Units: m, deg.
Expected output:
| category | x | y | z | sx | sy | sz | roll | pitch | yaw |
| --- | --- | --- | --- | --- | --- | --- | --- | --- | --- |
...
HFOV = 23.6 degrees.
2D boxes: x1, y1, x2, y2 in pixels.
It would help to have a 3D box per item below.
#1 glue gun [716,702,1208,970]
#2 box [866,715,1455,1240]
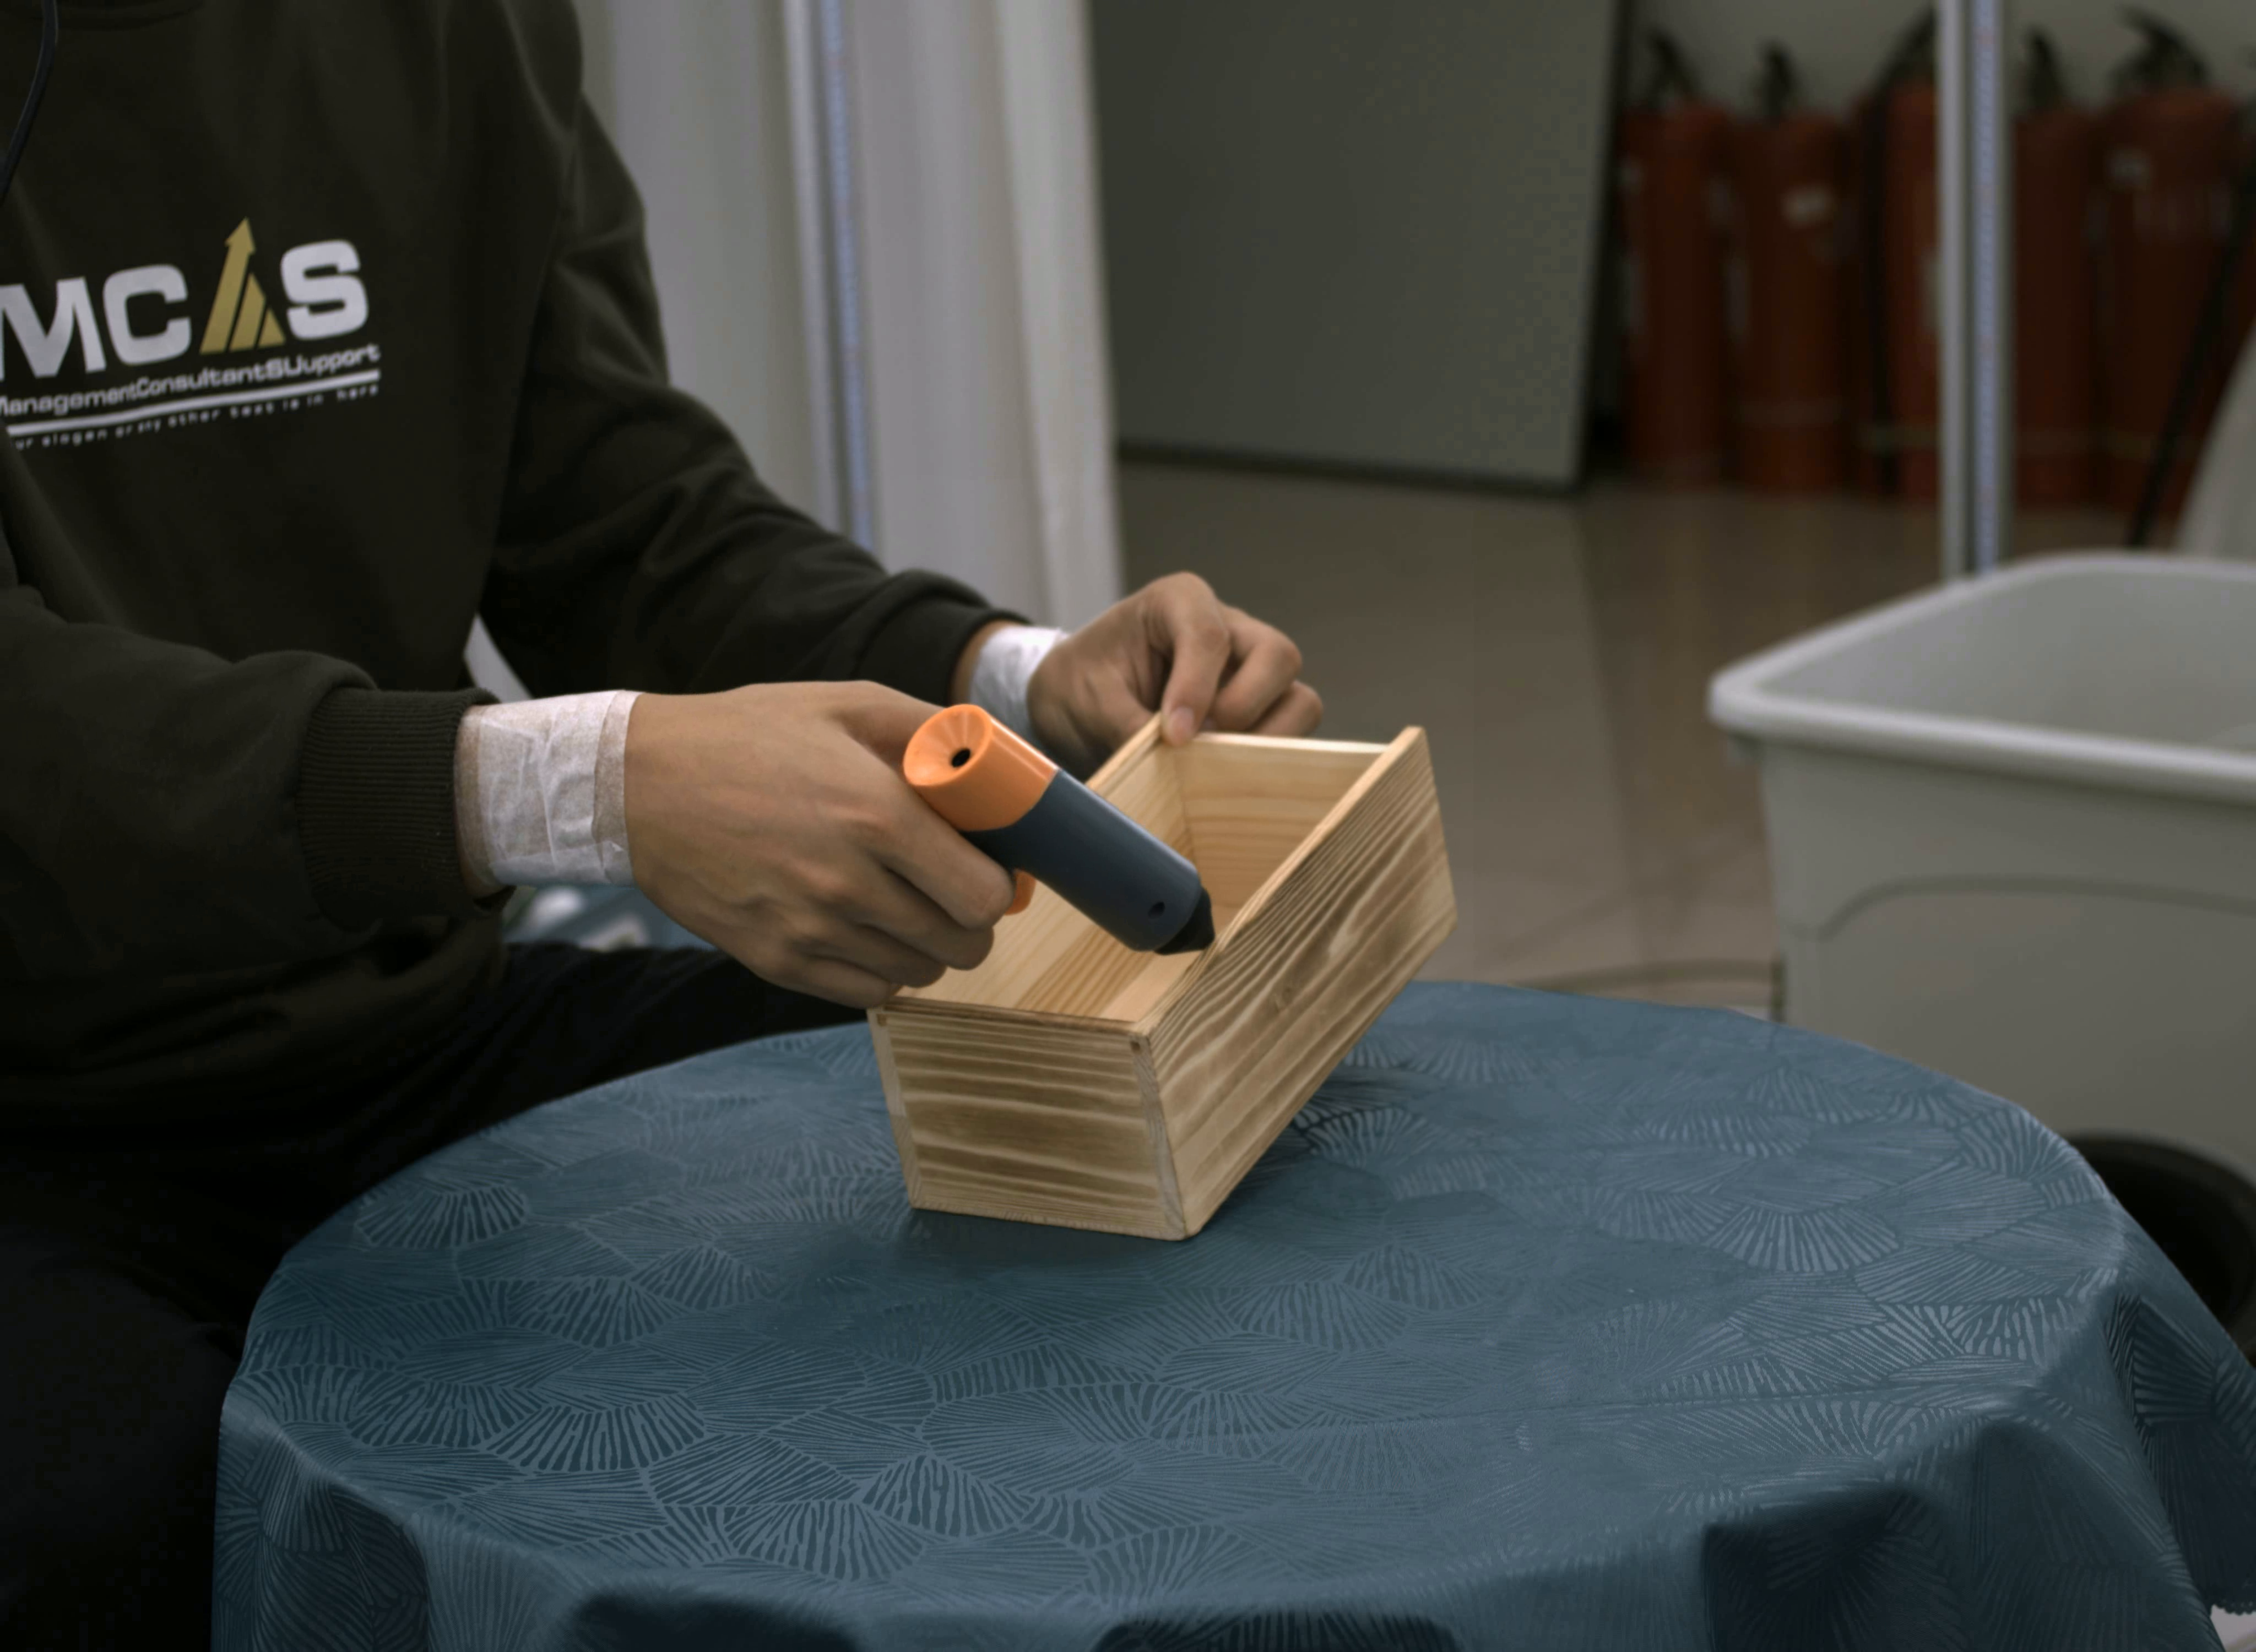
| category | x | y | z | sx | sy | sz | roll | pitch | yaw |
| --- | --- | --- | --- | --- | --- | --- | --- | --- | --- |
| glue gun | -0.053 | 0.012 | 1.737 | 0.140 | 0.117 | 0.041 | -8 | 49 | 32 |
| box | 0.015 | 0.047 | 1.811 | 0.108 | 0.080 | 0.209 | 3 | 30 | 30 |
